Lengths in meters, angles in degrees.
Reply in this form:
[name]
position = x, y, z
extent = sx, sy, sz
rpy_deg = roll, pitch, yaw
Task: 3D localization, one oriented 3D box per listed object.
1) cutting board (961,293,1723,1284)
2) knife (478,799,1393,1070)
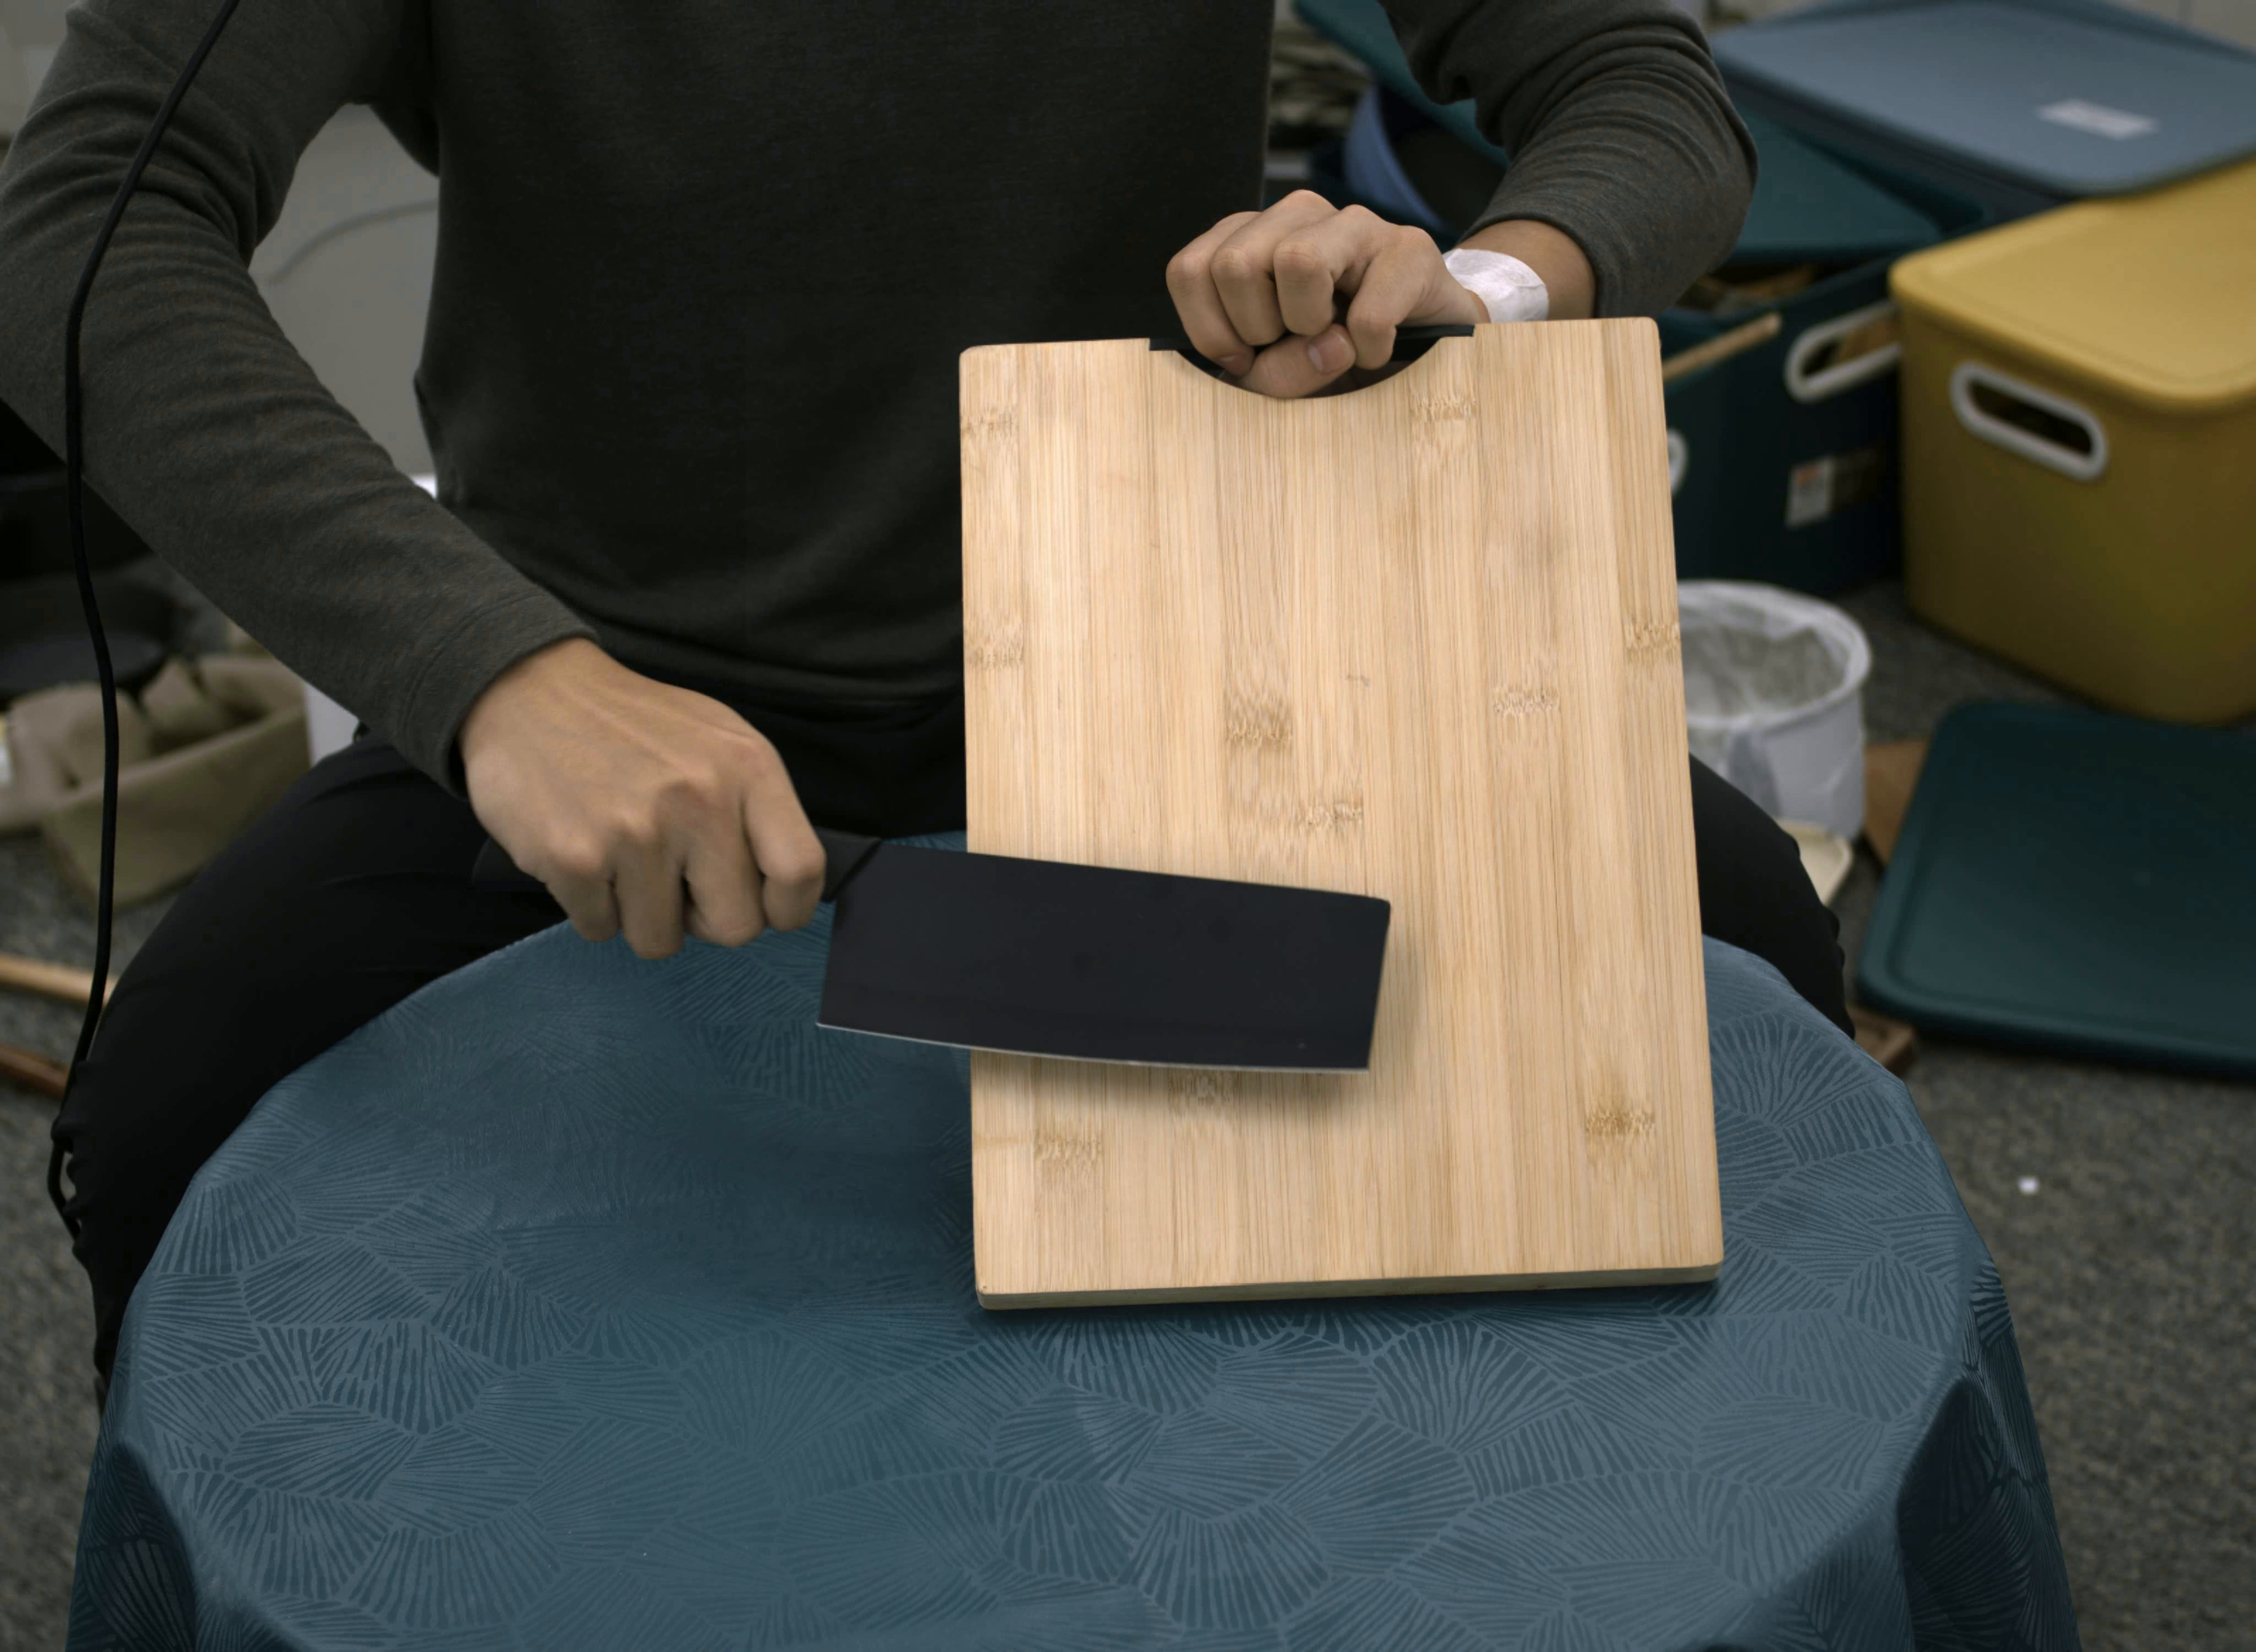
[cutting board]
position = 0.066, -0.014, 1.864
extent = 0.249, 0.023, 0.354
rpy_deg = -3, 66, 0
[knife]
position = -0.064, 0.033, 1.824
extent = 0.301, 0.020, 0.082
rpy_deg = 10, 68, 8
